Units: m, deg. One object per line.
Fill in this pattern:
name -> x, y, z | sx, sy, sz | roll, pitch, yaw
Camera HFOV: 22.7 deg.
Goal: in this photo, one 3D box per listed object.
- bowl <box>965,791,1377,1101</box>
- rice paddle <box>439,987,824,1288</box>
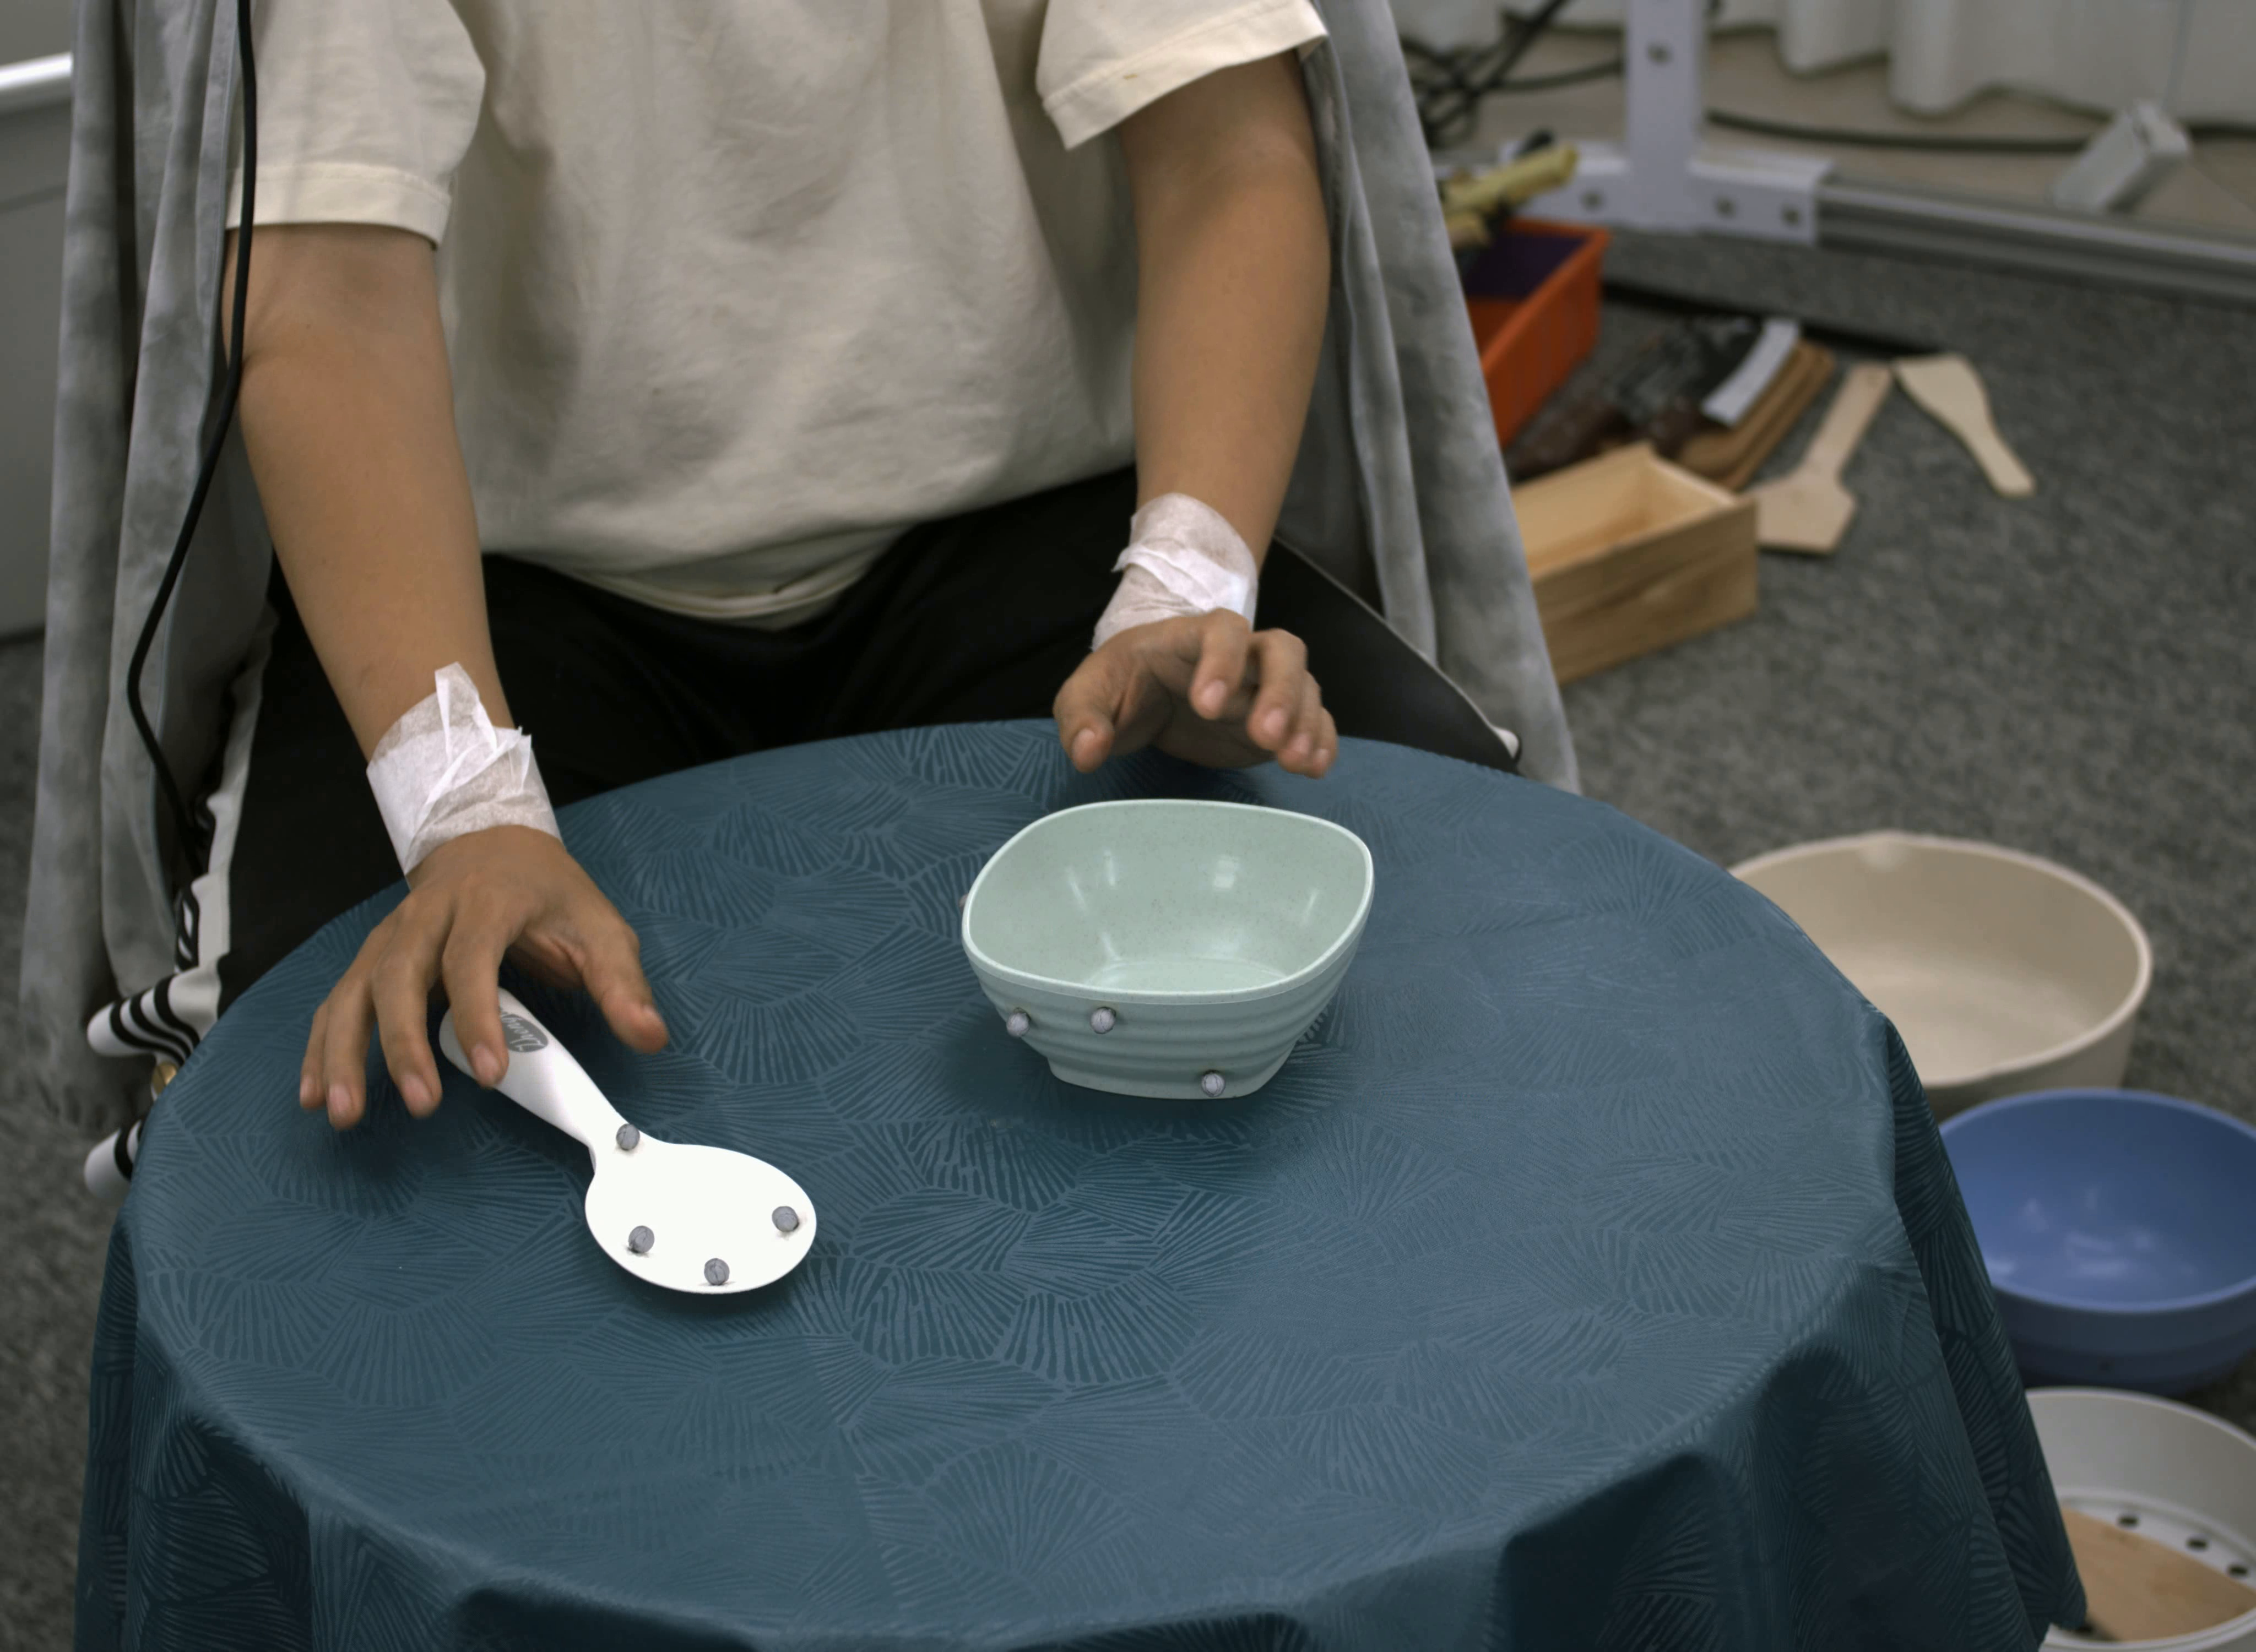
bowl -> 0.018, 0.047, 1.937 | 0.150, 0.058, 0.154 | -5, 29, 3
rice paddle -> -0.169, 0.106, 1.875 | 0.069, 0.029, 0.206 | -21, 32, -27
